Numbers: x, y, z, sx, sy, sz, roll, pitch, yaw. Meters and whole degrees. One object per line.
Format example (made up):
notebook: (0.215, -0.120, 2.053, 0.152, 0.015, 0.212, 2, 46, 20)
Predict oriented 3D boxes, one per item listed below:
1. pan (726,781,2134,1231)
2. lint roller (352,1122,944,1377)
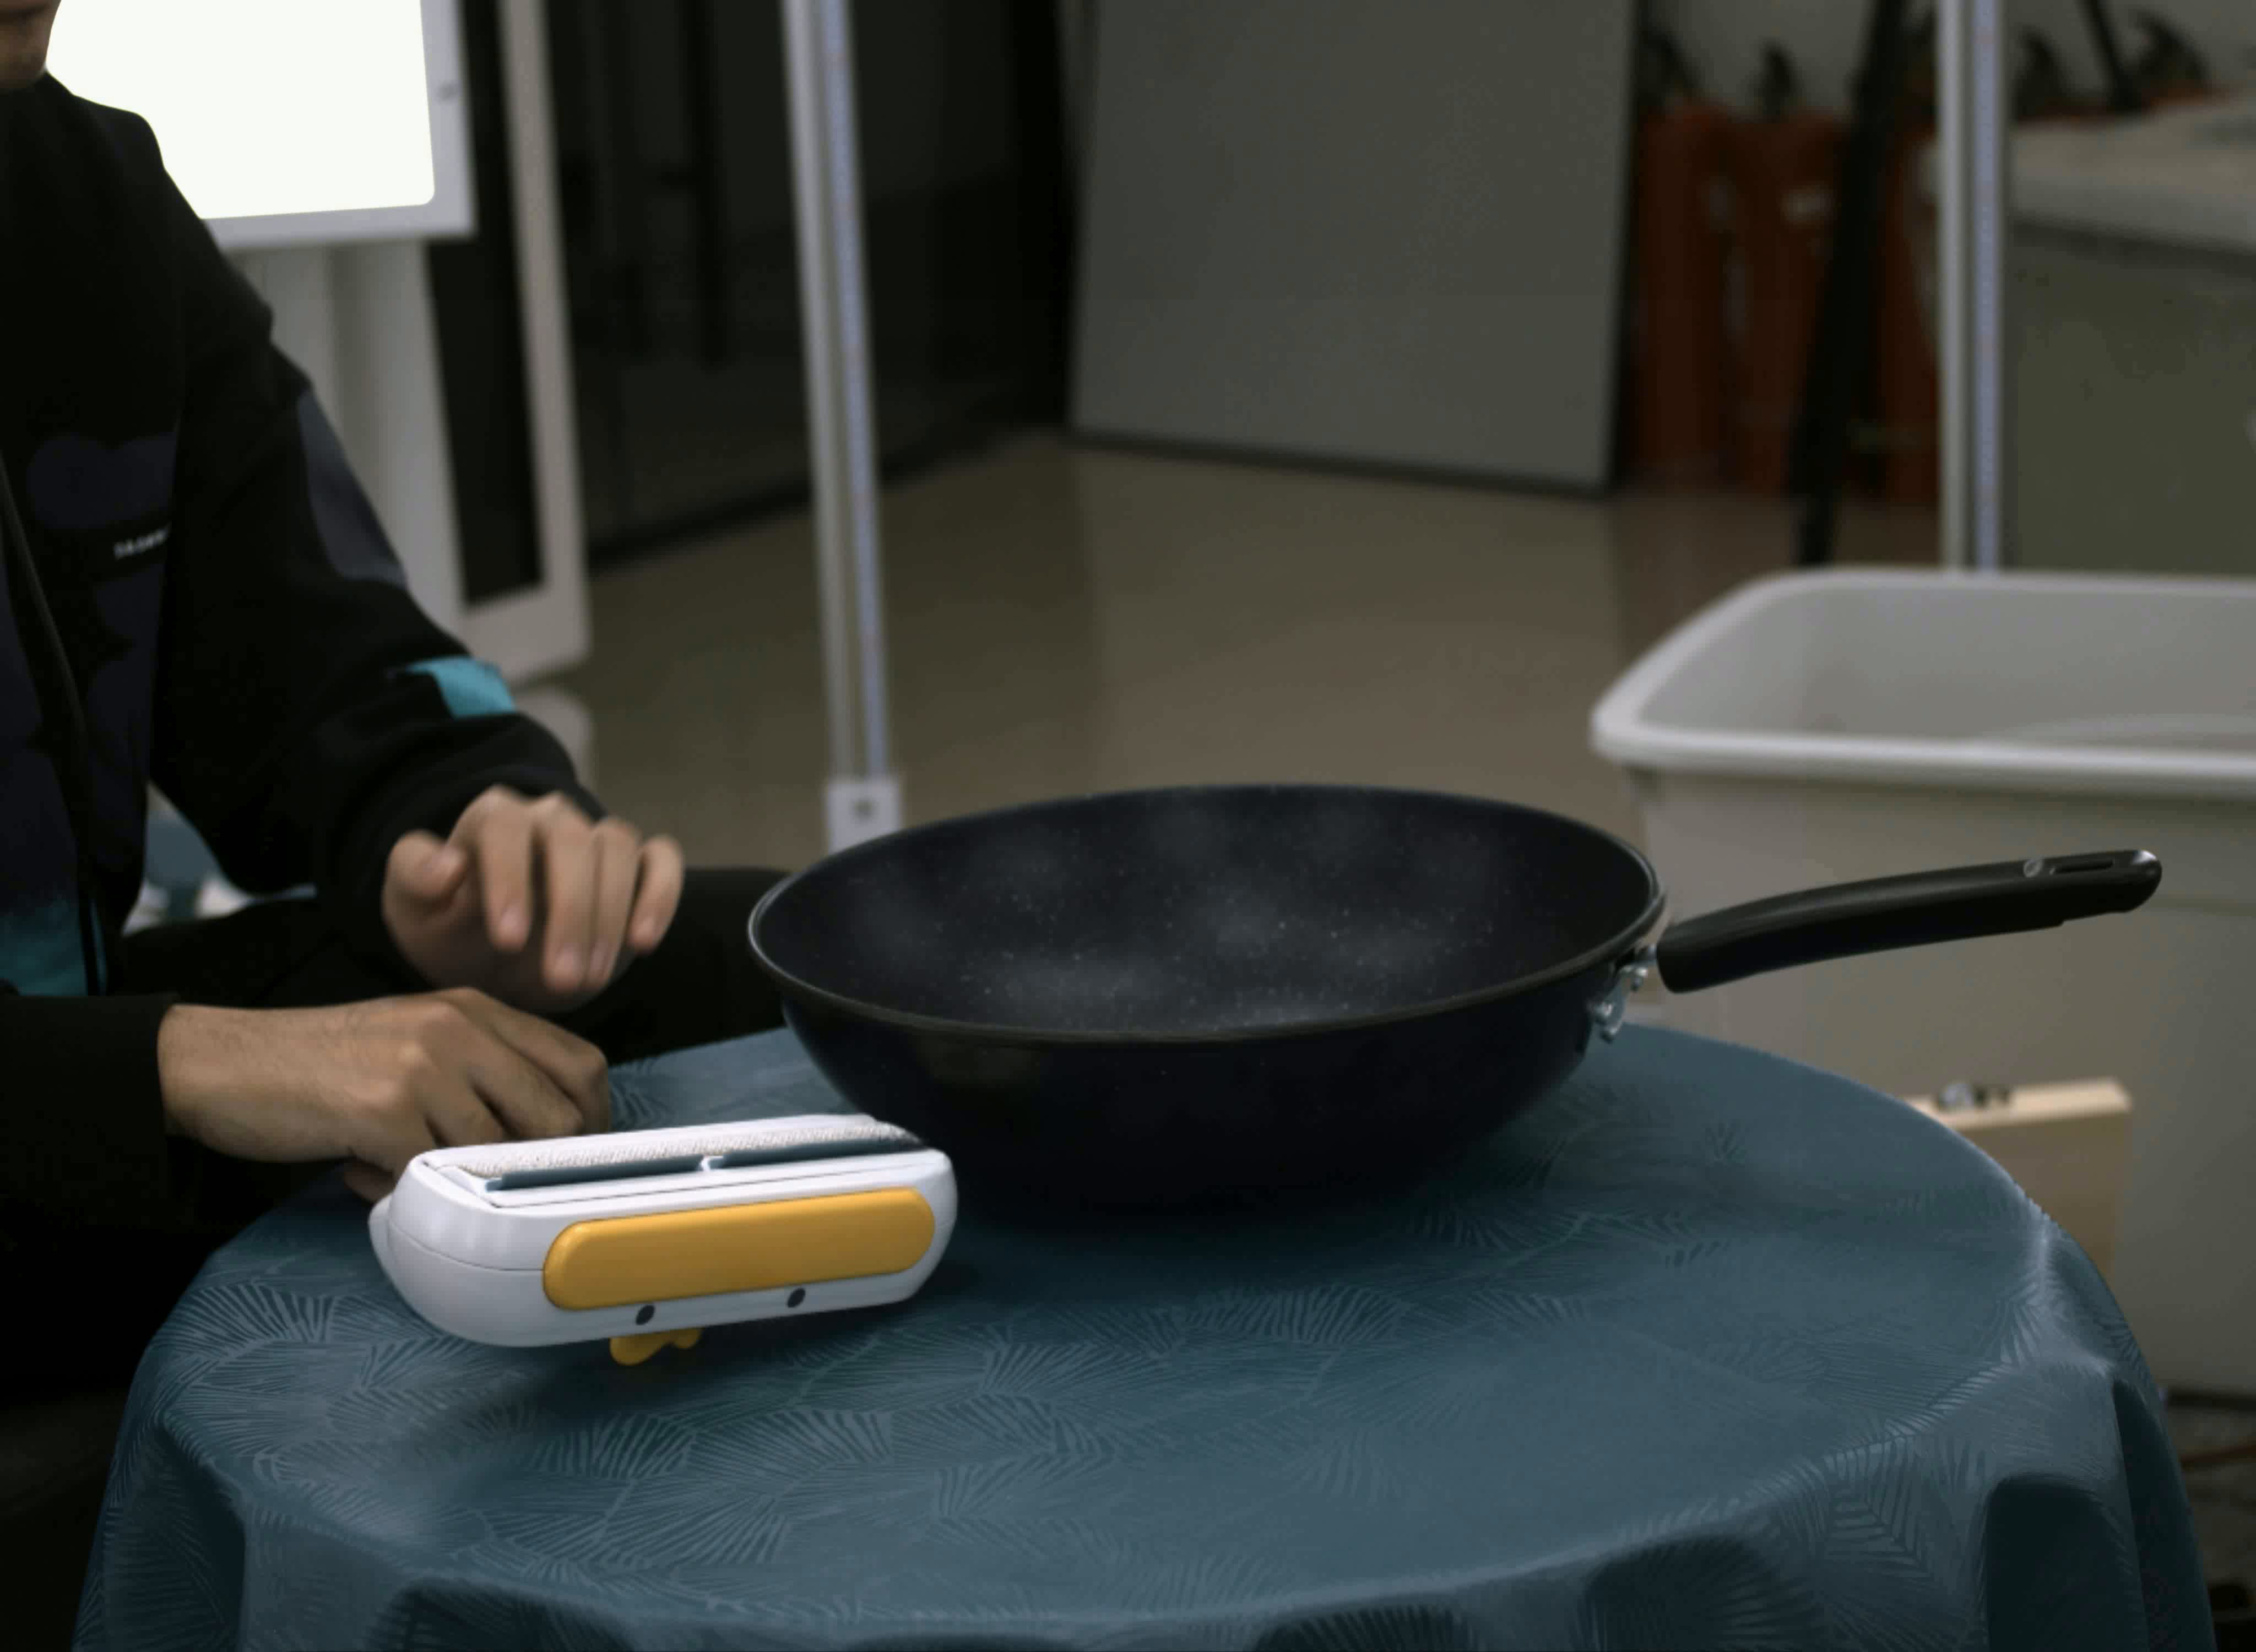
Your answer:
pan: (0.097, 0.057, 1.776, 0.477, 0.113, 0.307, 1, 17, 22)
lint roller: (-0.176, 0.122, 1.679, 0.188, 0.075, 0.194, -8, 11, -35)
